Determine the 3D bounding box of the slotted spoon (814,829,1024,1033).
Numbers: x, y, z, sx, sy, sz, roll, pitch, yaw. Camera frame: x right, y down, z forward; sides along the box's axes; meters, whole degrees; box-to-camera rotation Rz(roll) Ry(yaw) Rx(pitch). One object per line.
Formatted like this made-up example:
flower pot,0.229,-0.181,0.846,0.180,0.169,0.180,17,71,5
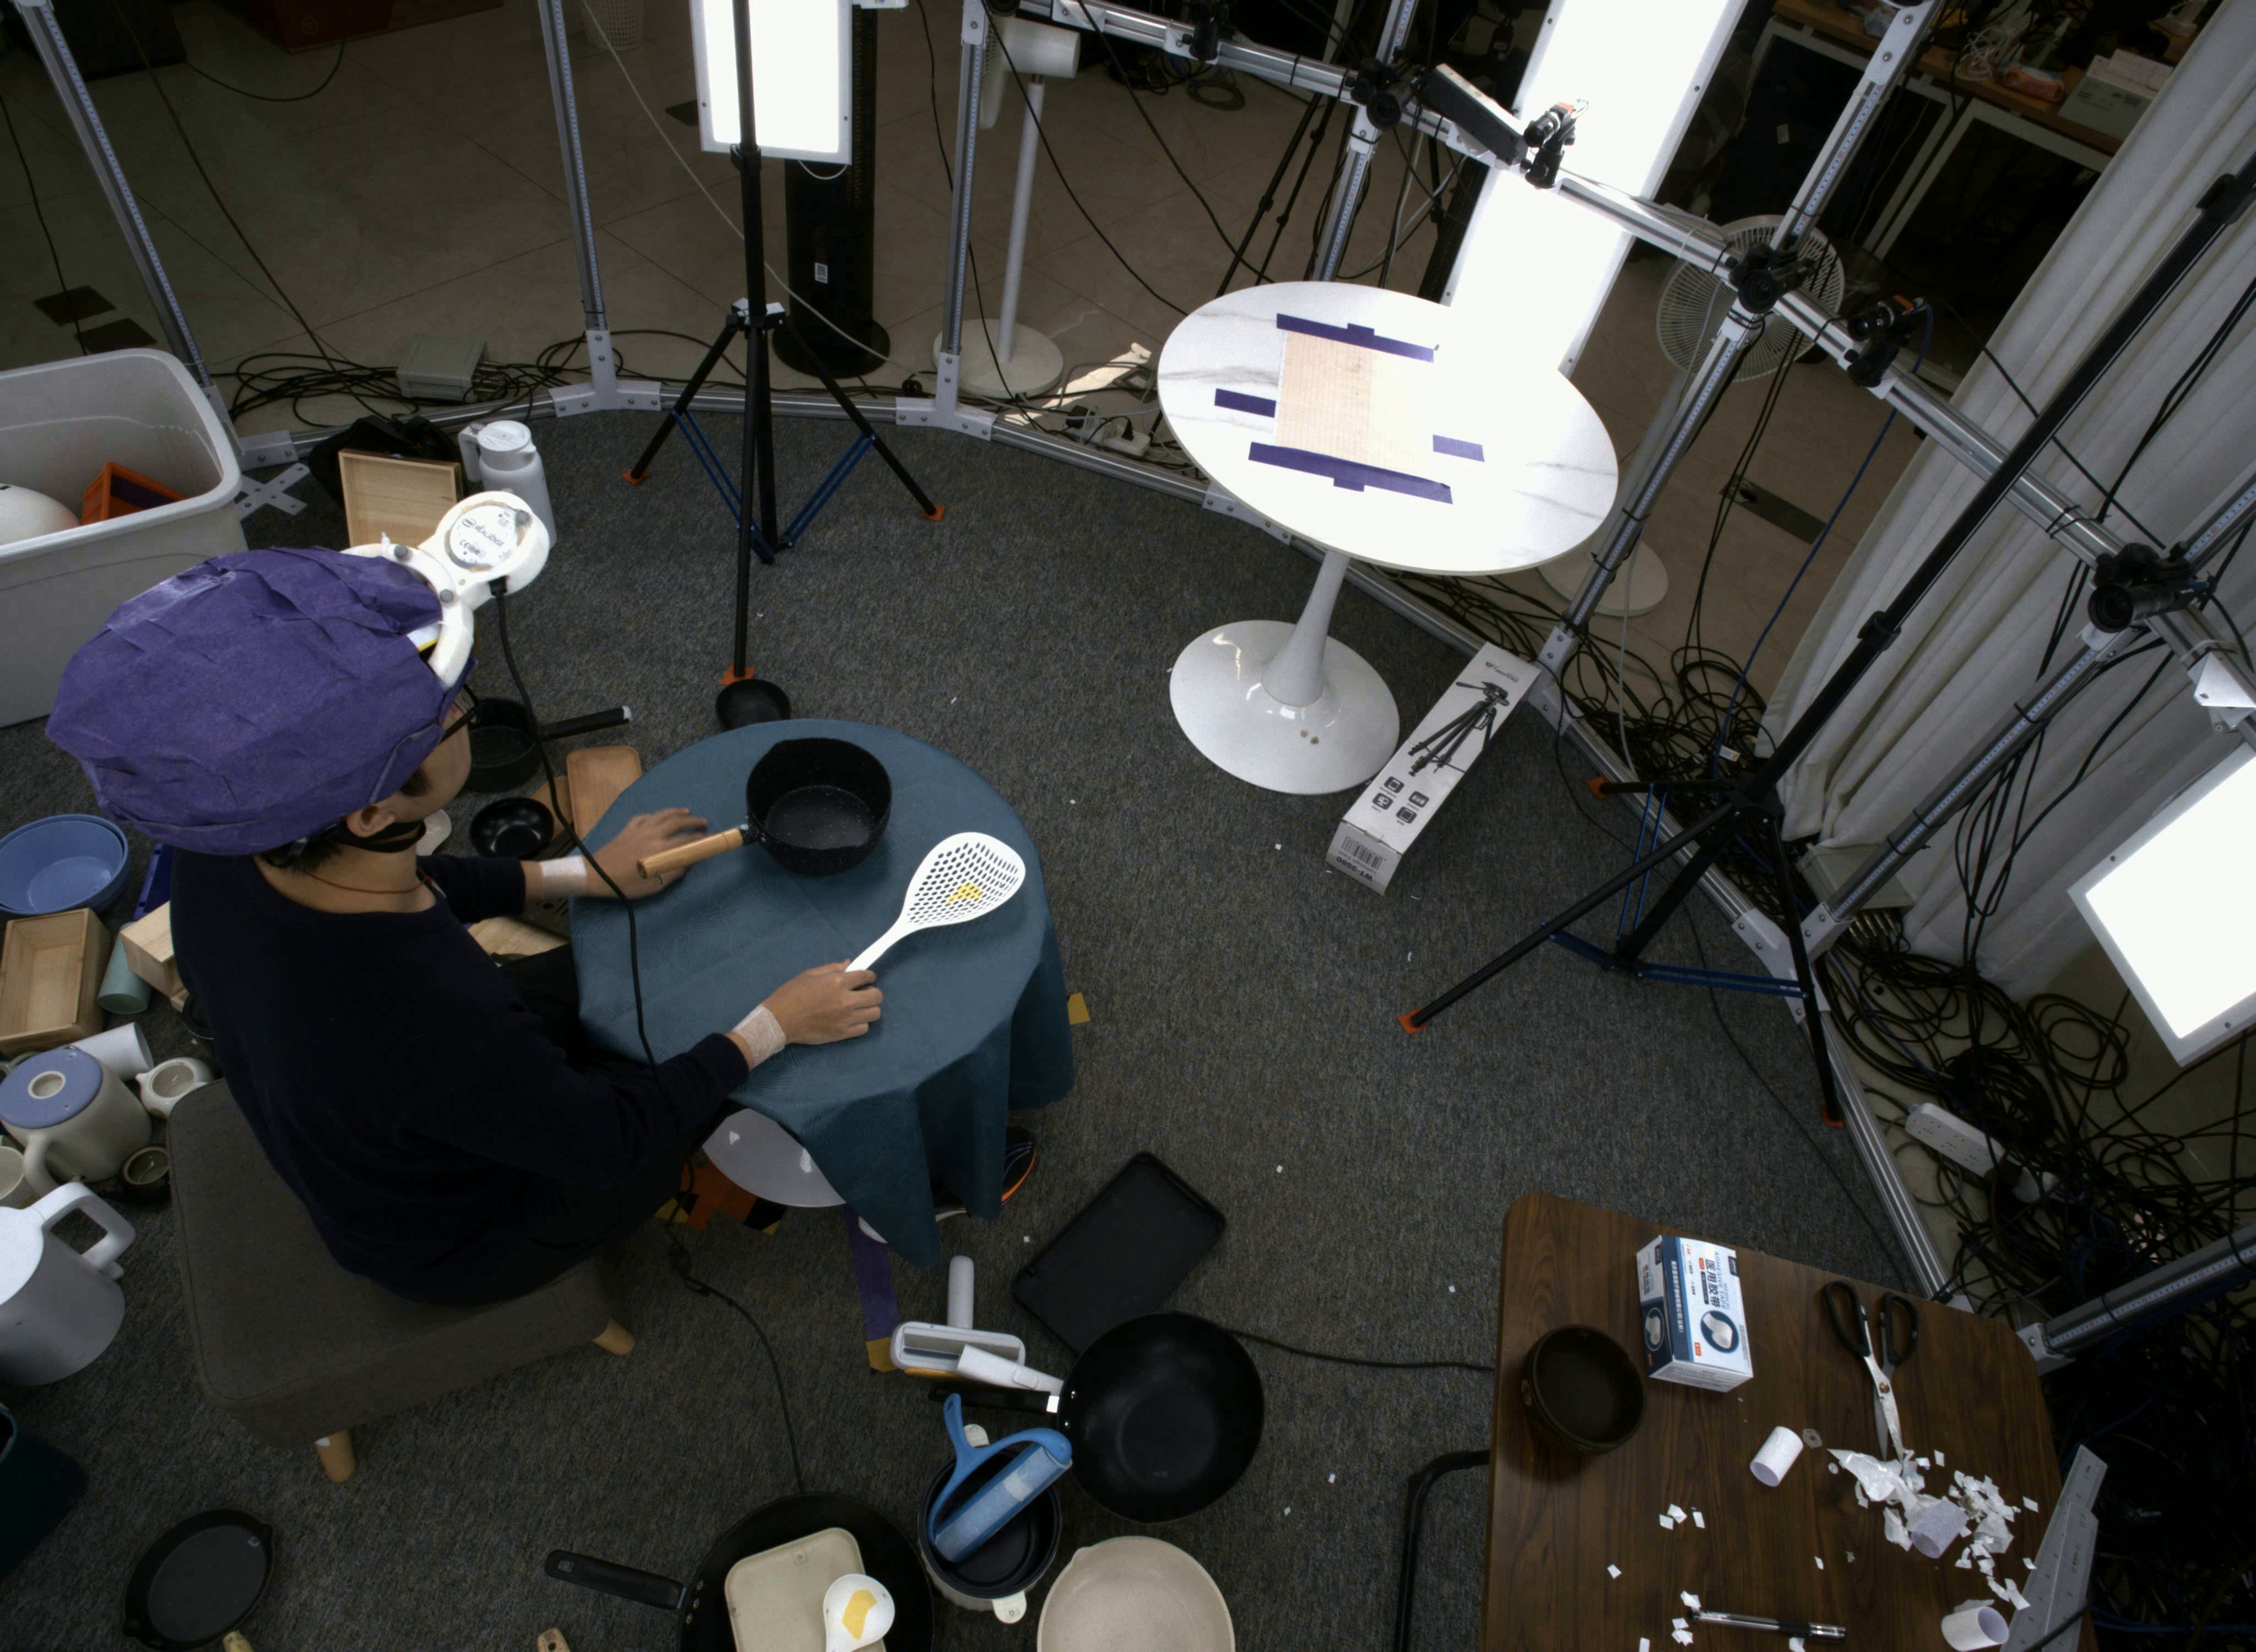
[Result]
slotted spoon,-0.271,0.128,1.630,0.133,0.052,0.348,31,50,22

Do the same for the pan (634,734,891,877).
pan,-0.458,0.007,1.630,0.344,0.110,0.203,-31,67,-33
